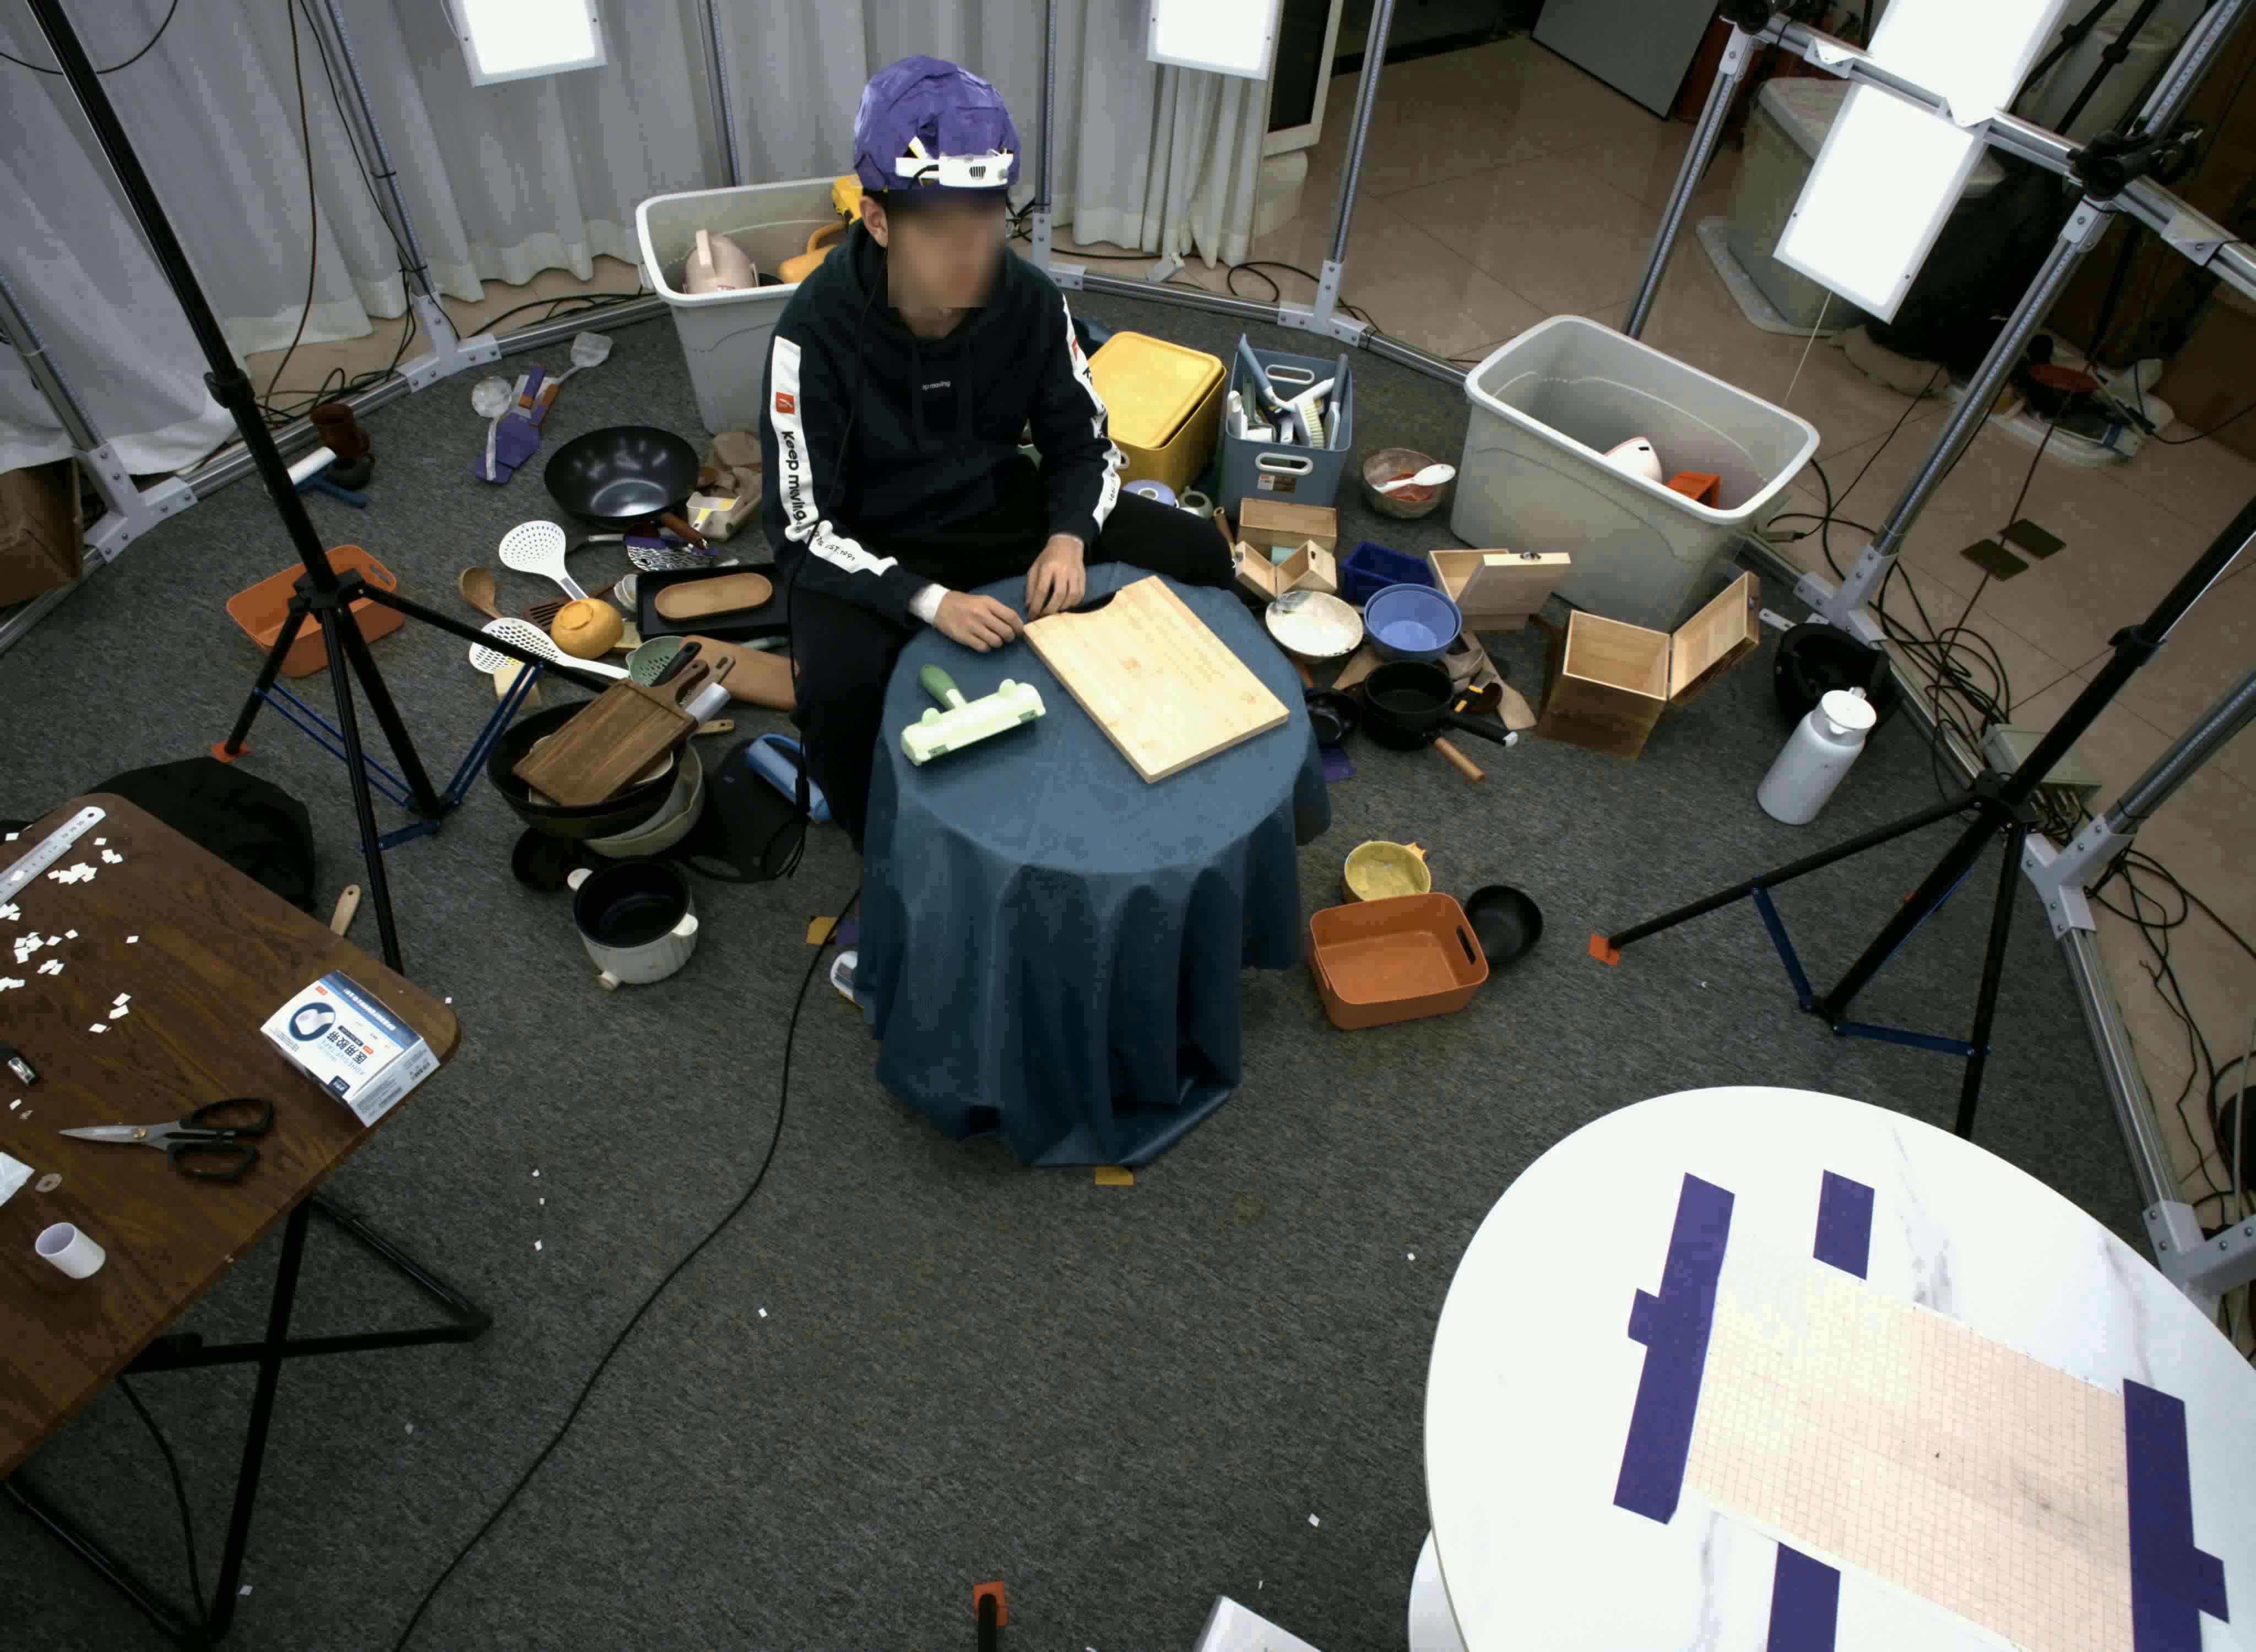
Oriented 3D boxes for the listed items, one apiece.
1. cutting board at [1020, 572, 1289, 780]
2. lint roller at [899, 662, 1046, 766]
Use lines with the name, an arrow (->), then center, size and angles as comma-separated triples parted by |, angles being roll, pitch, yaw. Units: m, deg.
cutting board -> 0.033, -0.224, 1.854 | 0.252, 0.023, 0.355 | -25, 55, -23
lint roller -> -0.239, -0.182, 1.759 | 0.199, 0.080, 0.187 | -23, 58, -22
